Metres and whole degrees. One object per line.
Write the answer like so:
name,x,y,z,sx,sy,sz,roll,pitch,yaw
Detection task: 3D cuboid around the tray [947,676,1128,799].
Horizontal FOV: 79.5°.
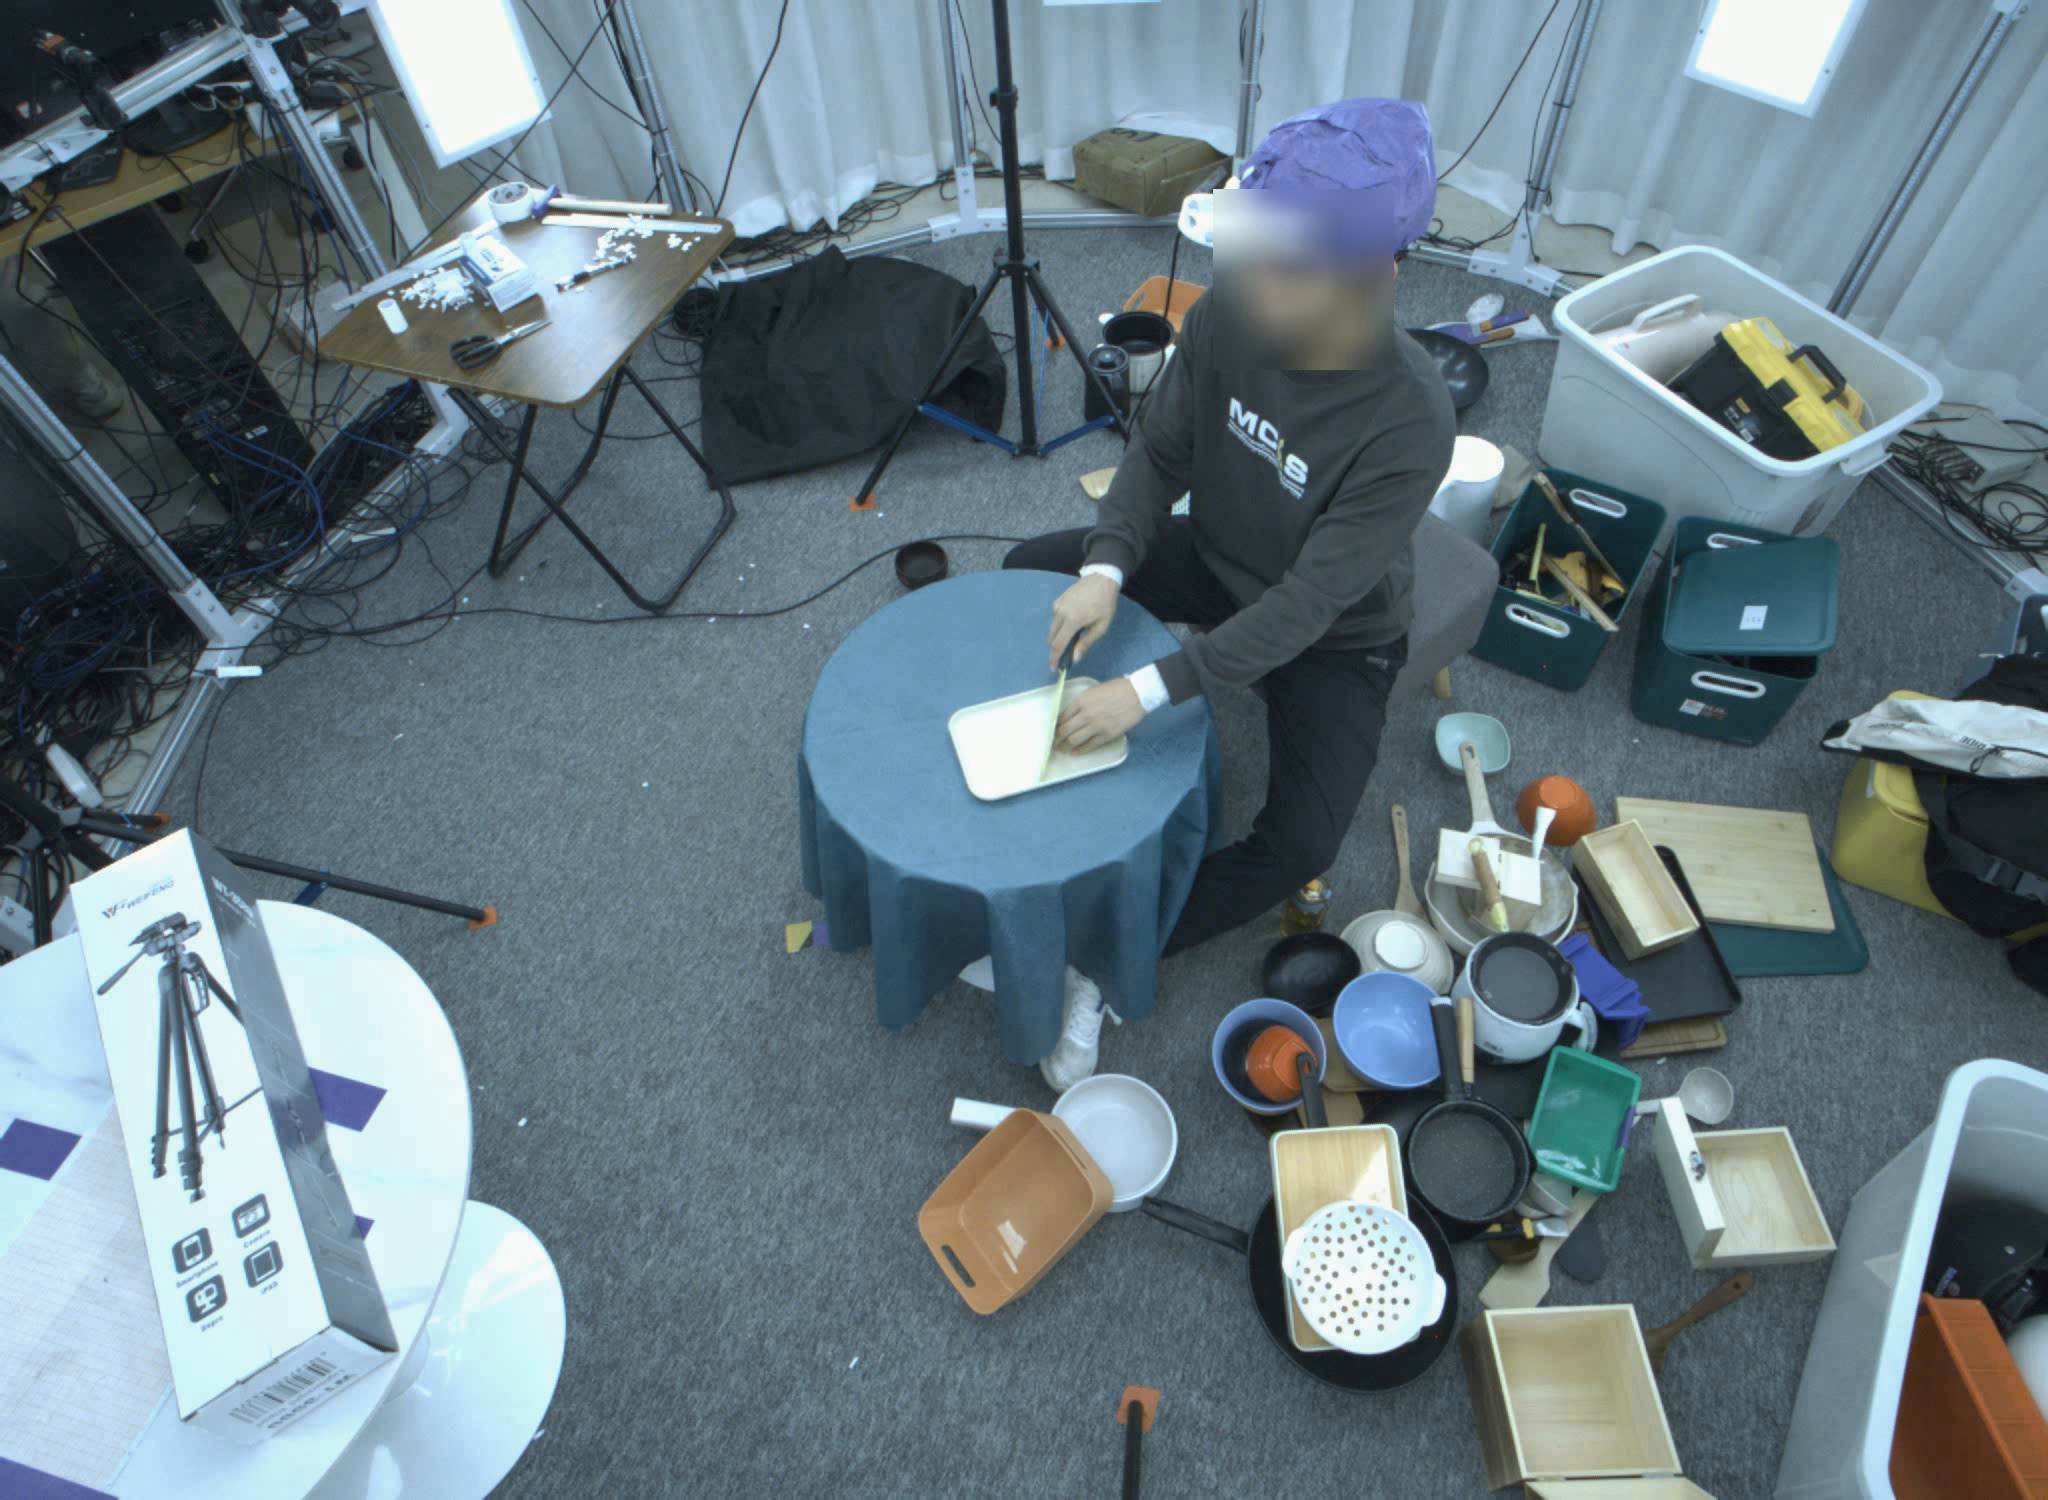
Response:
tray,0.019,-0.018,1.797,0.241,0.017,0.168,-16,55,-10

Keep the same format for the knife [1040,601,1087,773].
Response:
knife,0.053,-0.094,1.803,0.027,0.081,0.288,17,63,-7
